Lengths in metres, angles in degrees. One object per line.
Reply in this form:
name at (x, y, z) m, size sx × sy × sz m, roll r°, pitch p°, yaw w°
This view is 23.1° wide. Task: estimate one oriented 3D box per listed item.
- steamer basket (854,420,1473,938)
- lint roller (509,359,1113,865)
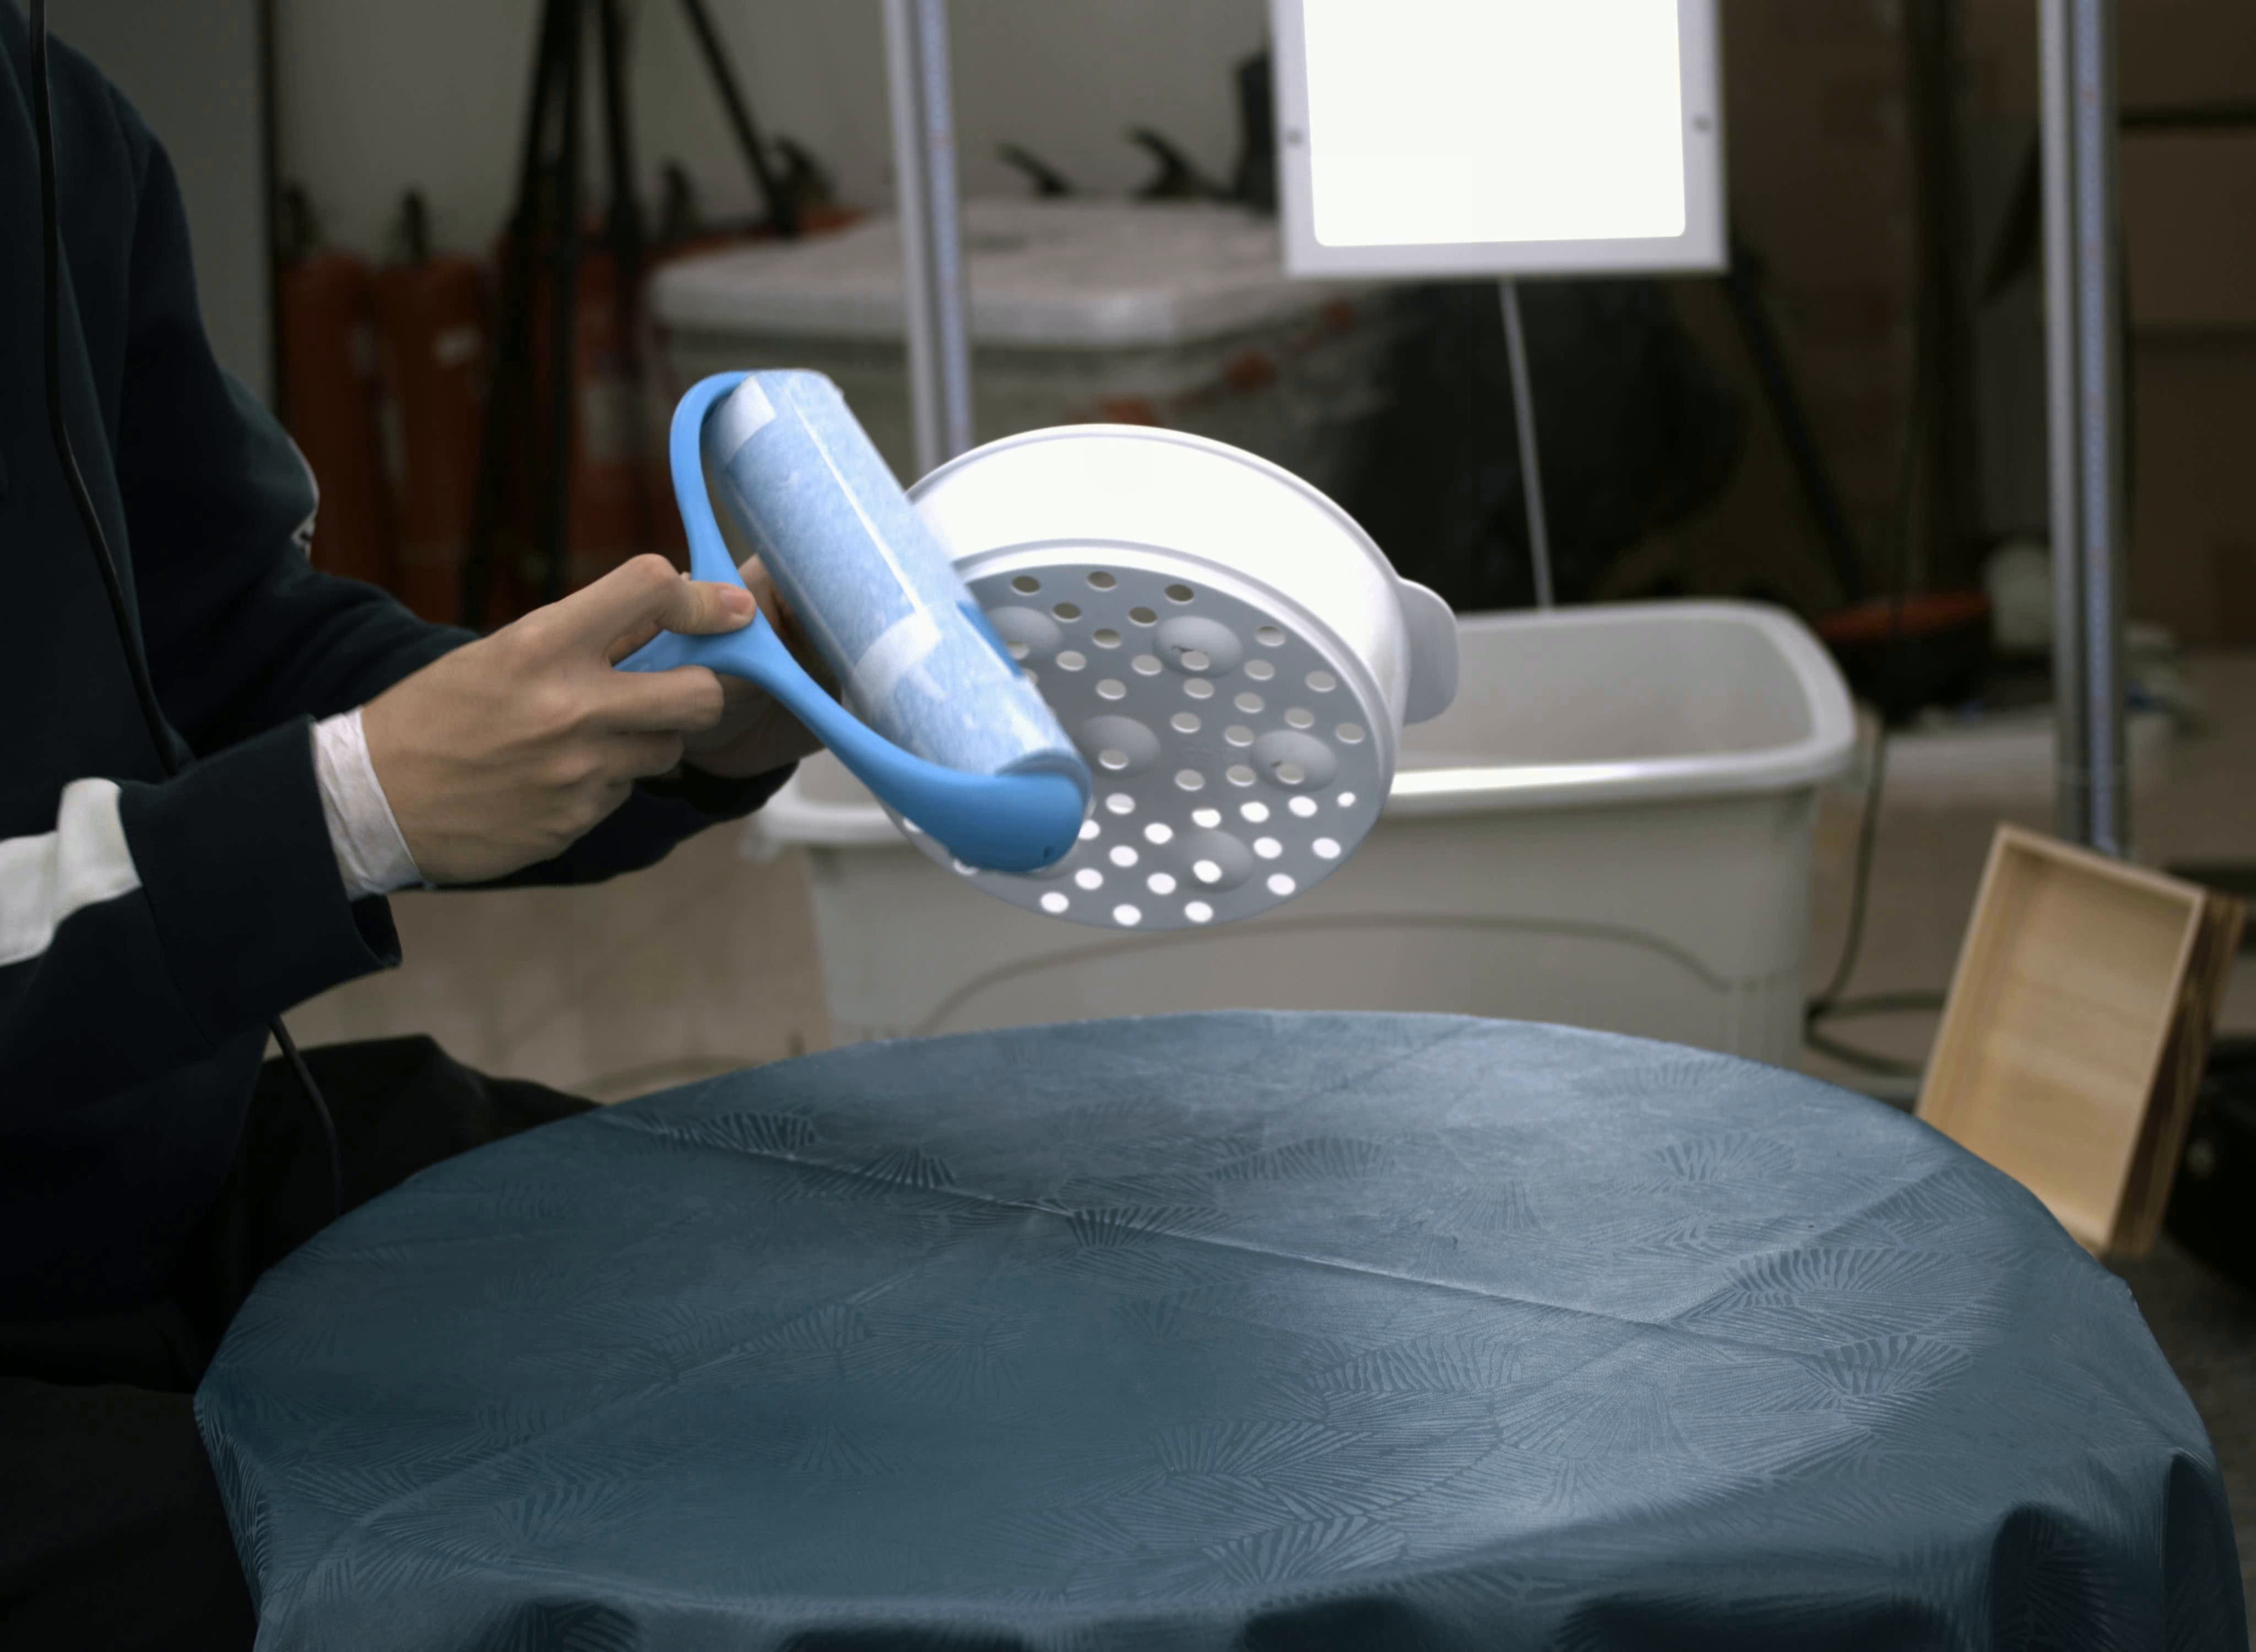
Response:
steamer basket at (0.003, -0.045, 1.907) m, size 0.232 × 0.202 × 0.069 m, roll 3°, pitch 46°, yaw 9°
lint roller at (-0.125, -0.047, 1.810) m, size 0.178 × 0.068 × 0.231 m, roll -30°, pitch 57°, yaw -13°
